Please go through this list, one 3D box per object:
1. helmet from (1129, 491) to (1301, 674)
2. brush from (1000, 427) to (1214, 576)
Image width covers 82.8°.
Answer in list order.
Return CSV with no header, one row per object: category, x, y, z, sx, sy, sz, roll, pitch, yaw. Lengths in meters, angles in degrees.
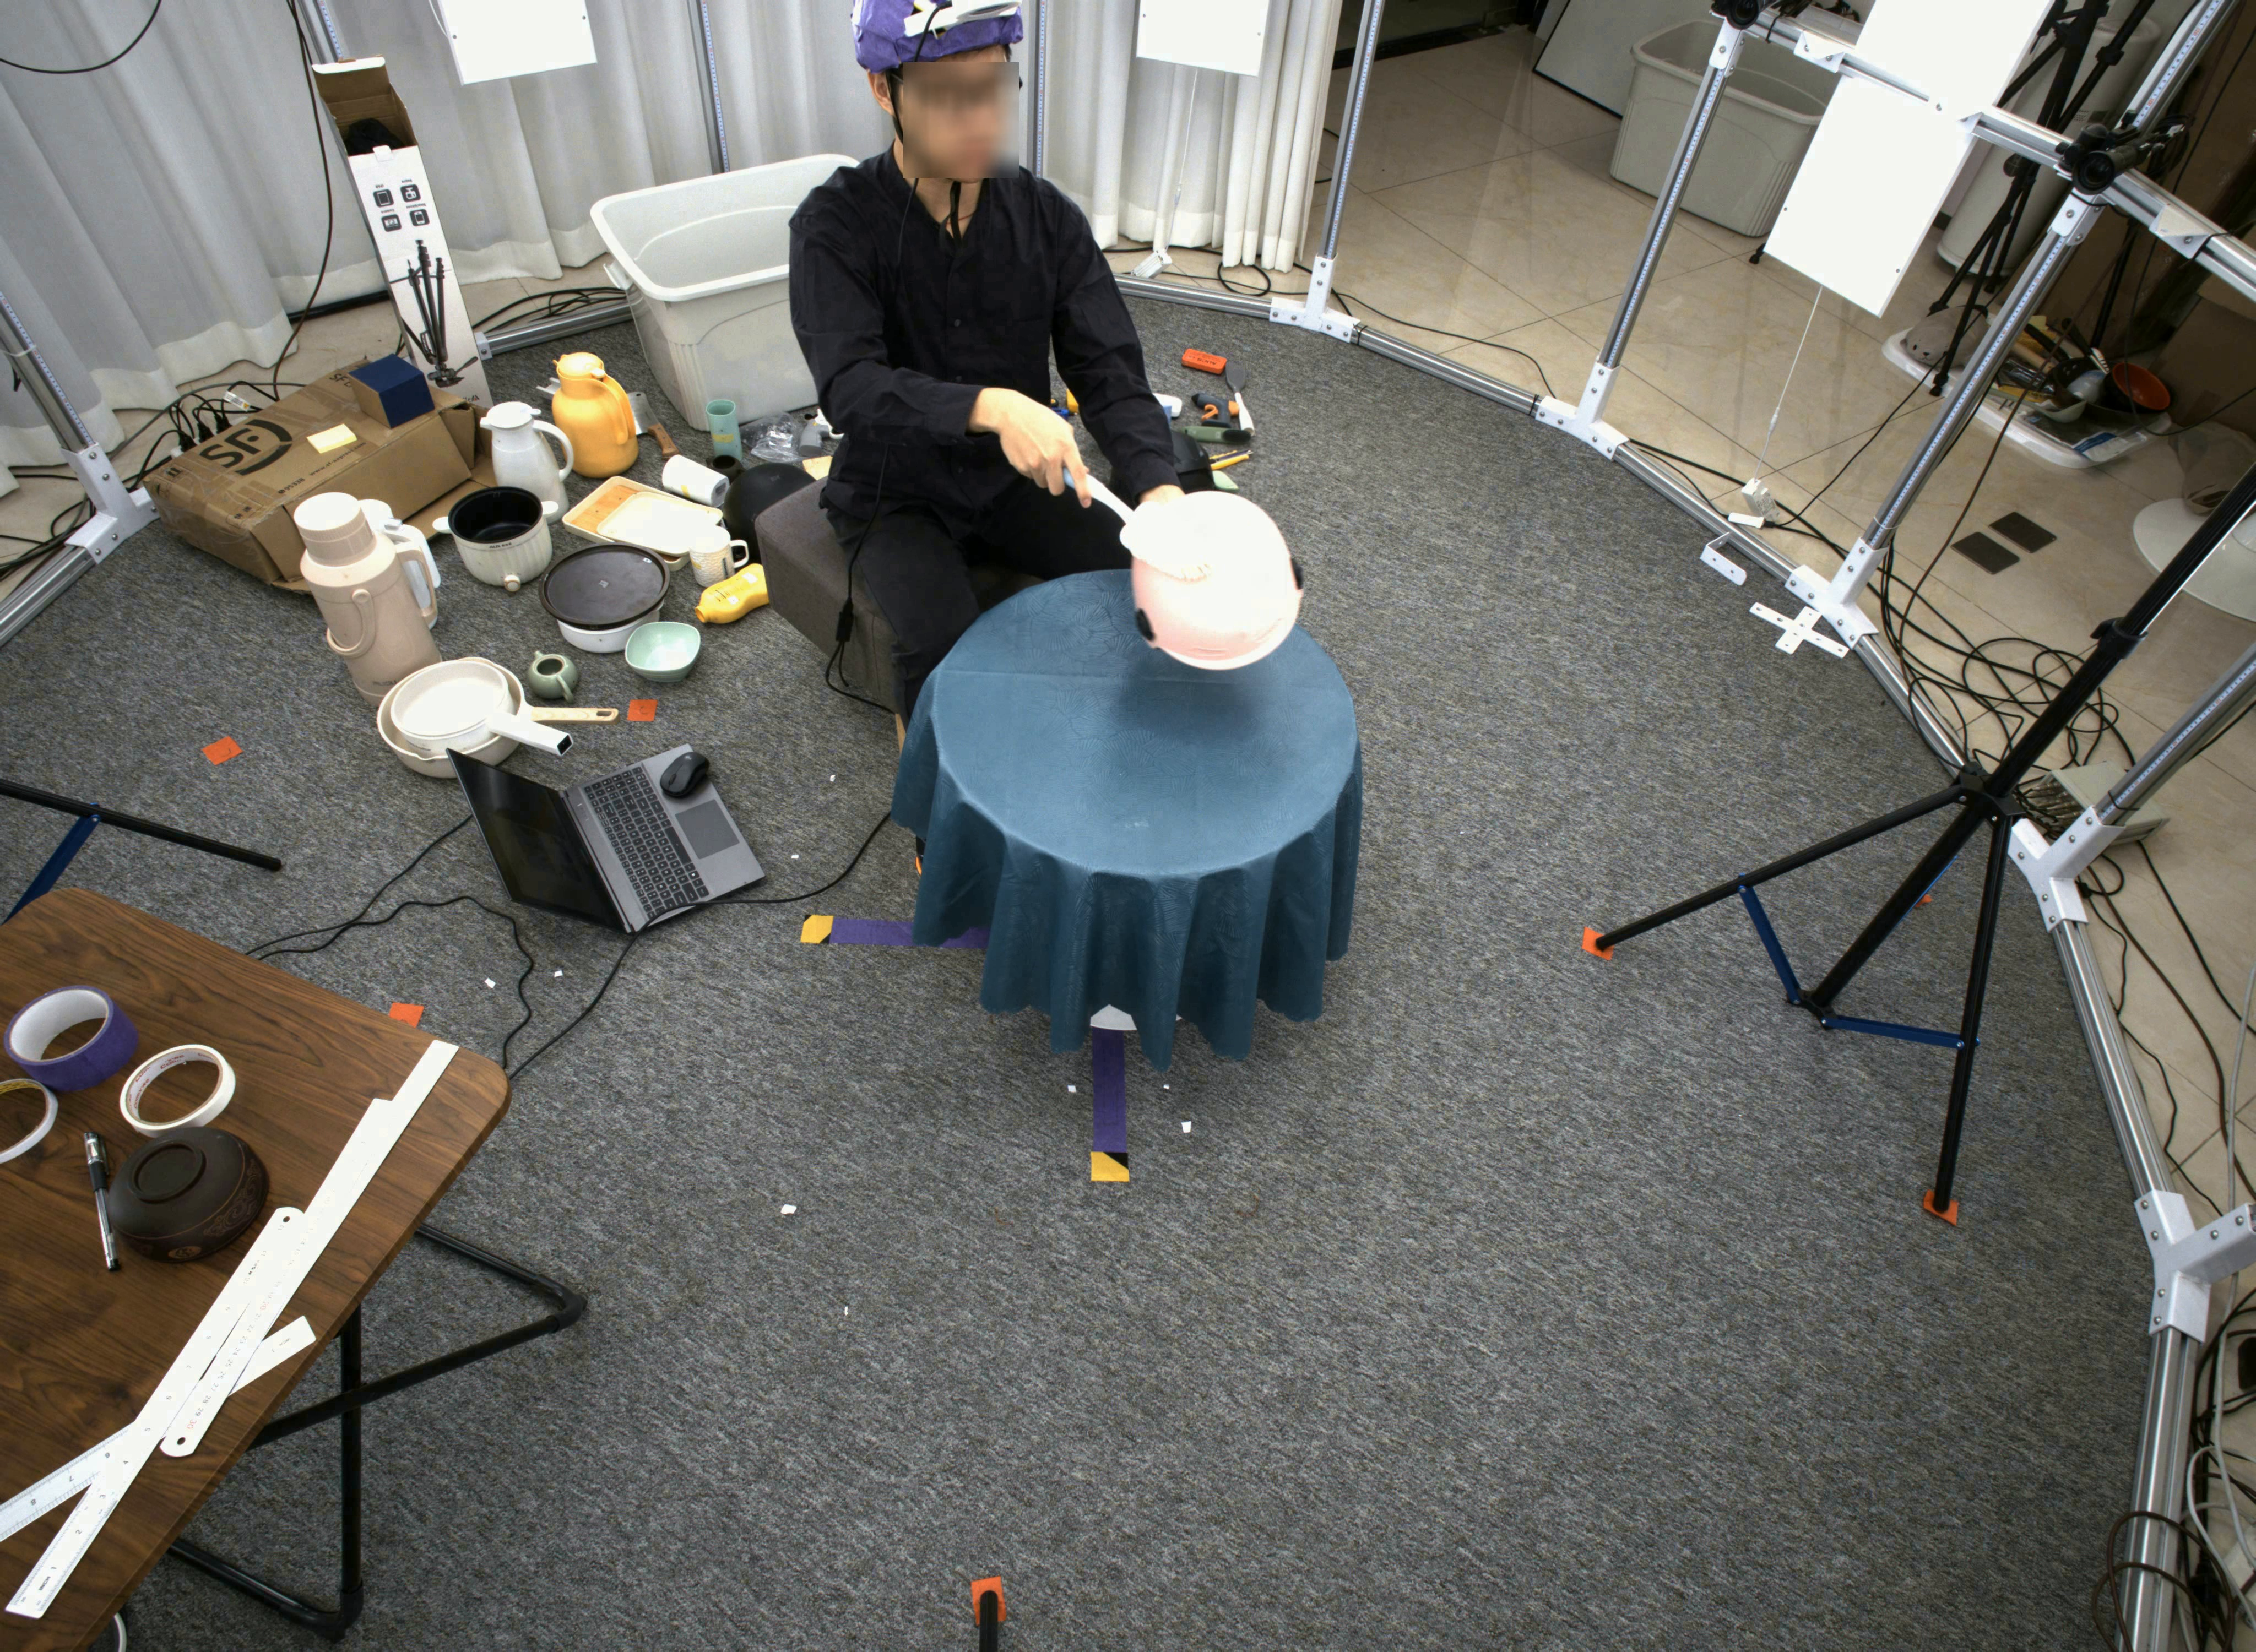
helmet,0.105,-0.344,1.713,0.234,0.155,0.272,-18,50,1
brush,-0.025,-0.416,1.657,0.328,0.082,0.084,34,48,17
